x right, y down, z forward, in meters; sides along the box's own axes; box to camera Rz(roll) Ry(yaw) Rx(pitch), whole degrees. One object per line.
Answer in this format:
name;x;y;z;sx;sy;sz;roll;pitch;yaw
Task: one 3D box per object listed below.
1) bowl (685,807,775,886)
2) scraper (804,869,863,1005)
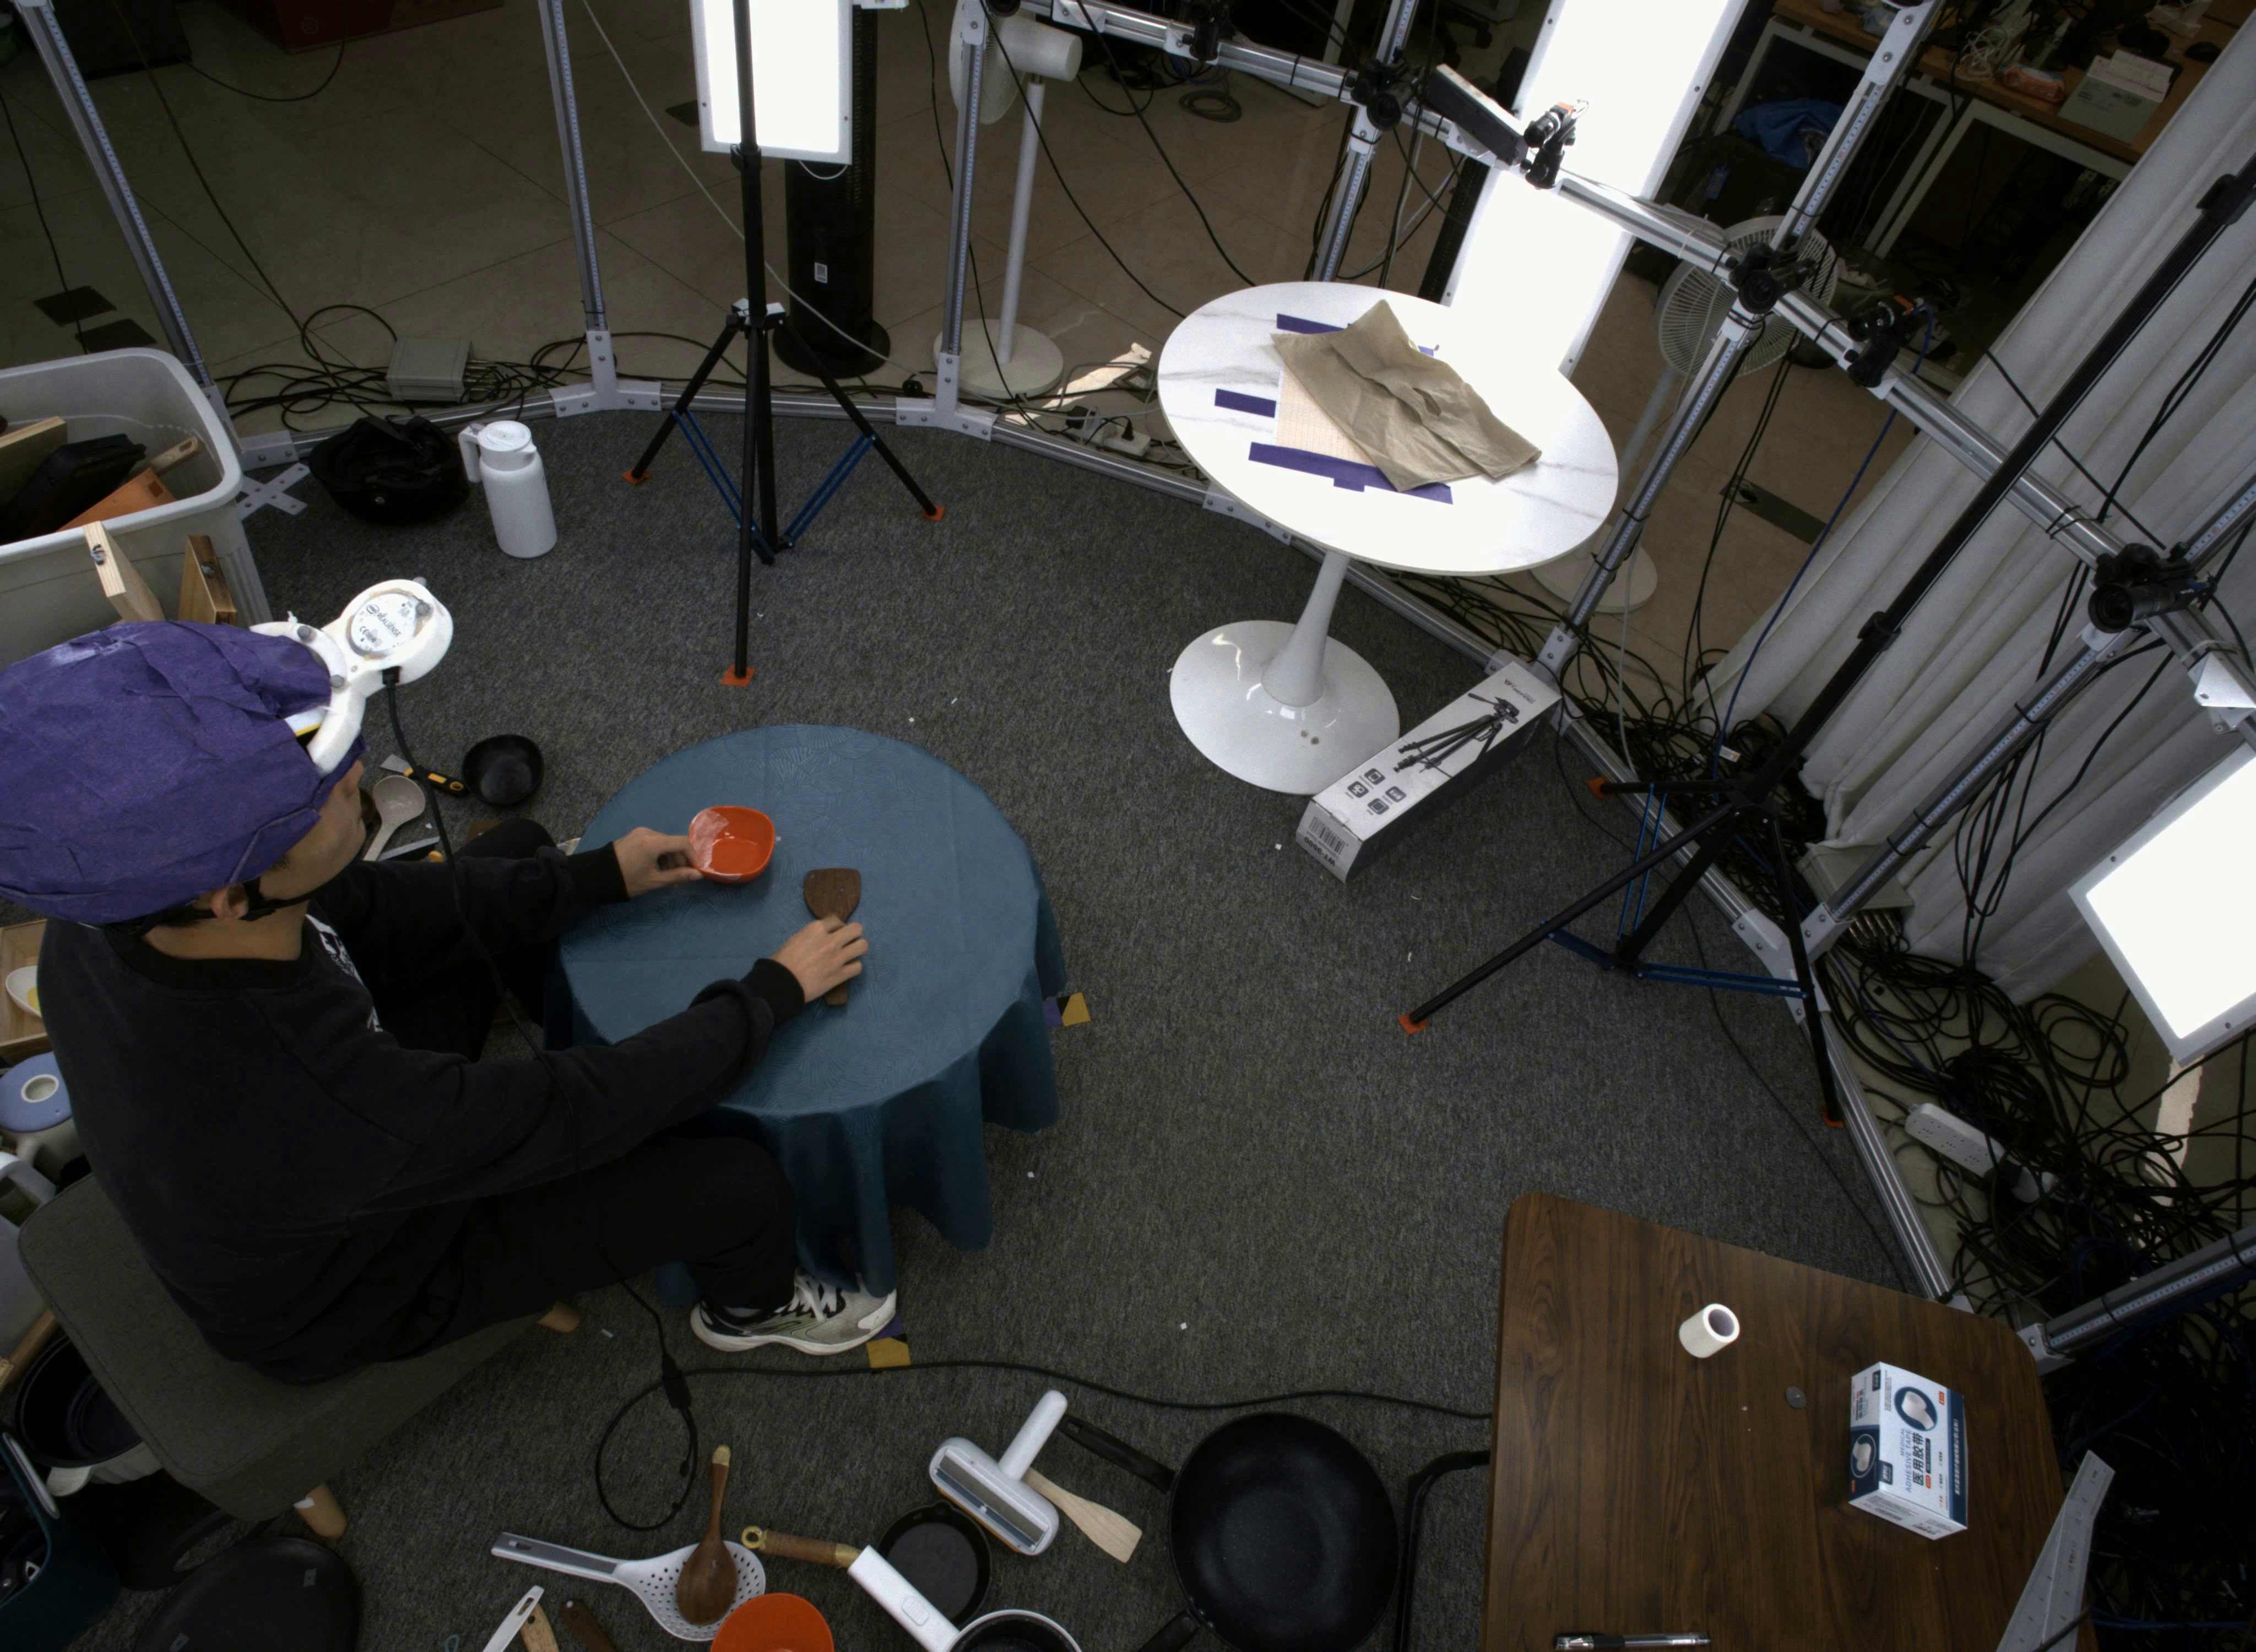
bowl;-0.507;0.033;1.653;0.119;0.052;0.117;8;53;-10
scraper;-0.368;0.135;1.629;0.076;0.011;0.206;-1;49;-14
